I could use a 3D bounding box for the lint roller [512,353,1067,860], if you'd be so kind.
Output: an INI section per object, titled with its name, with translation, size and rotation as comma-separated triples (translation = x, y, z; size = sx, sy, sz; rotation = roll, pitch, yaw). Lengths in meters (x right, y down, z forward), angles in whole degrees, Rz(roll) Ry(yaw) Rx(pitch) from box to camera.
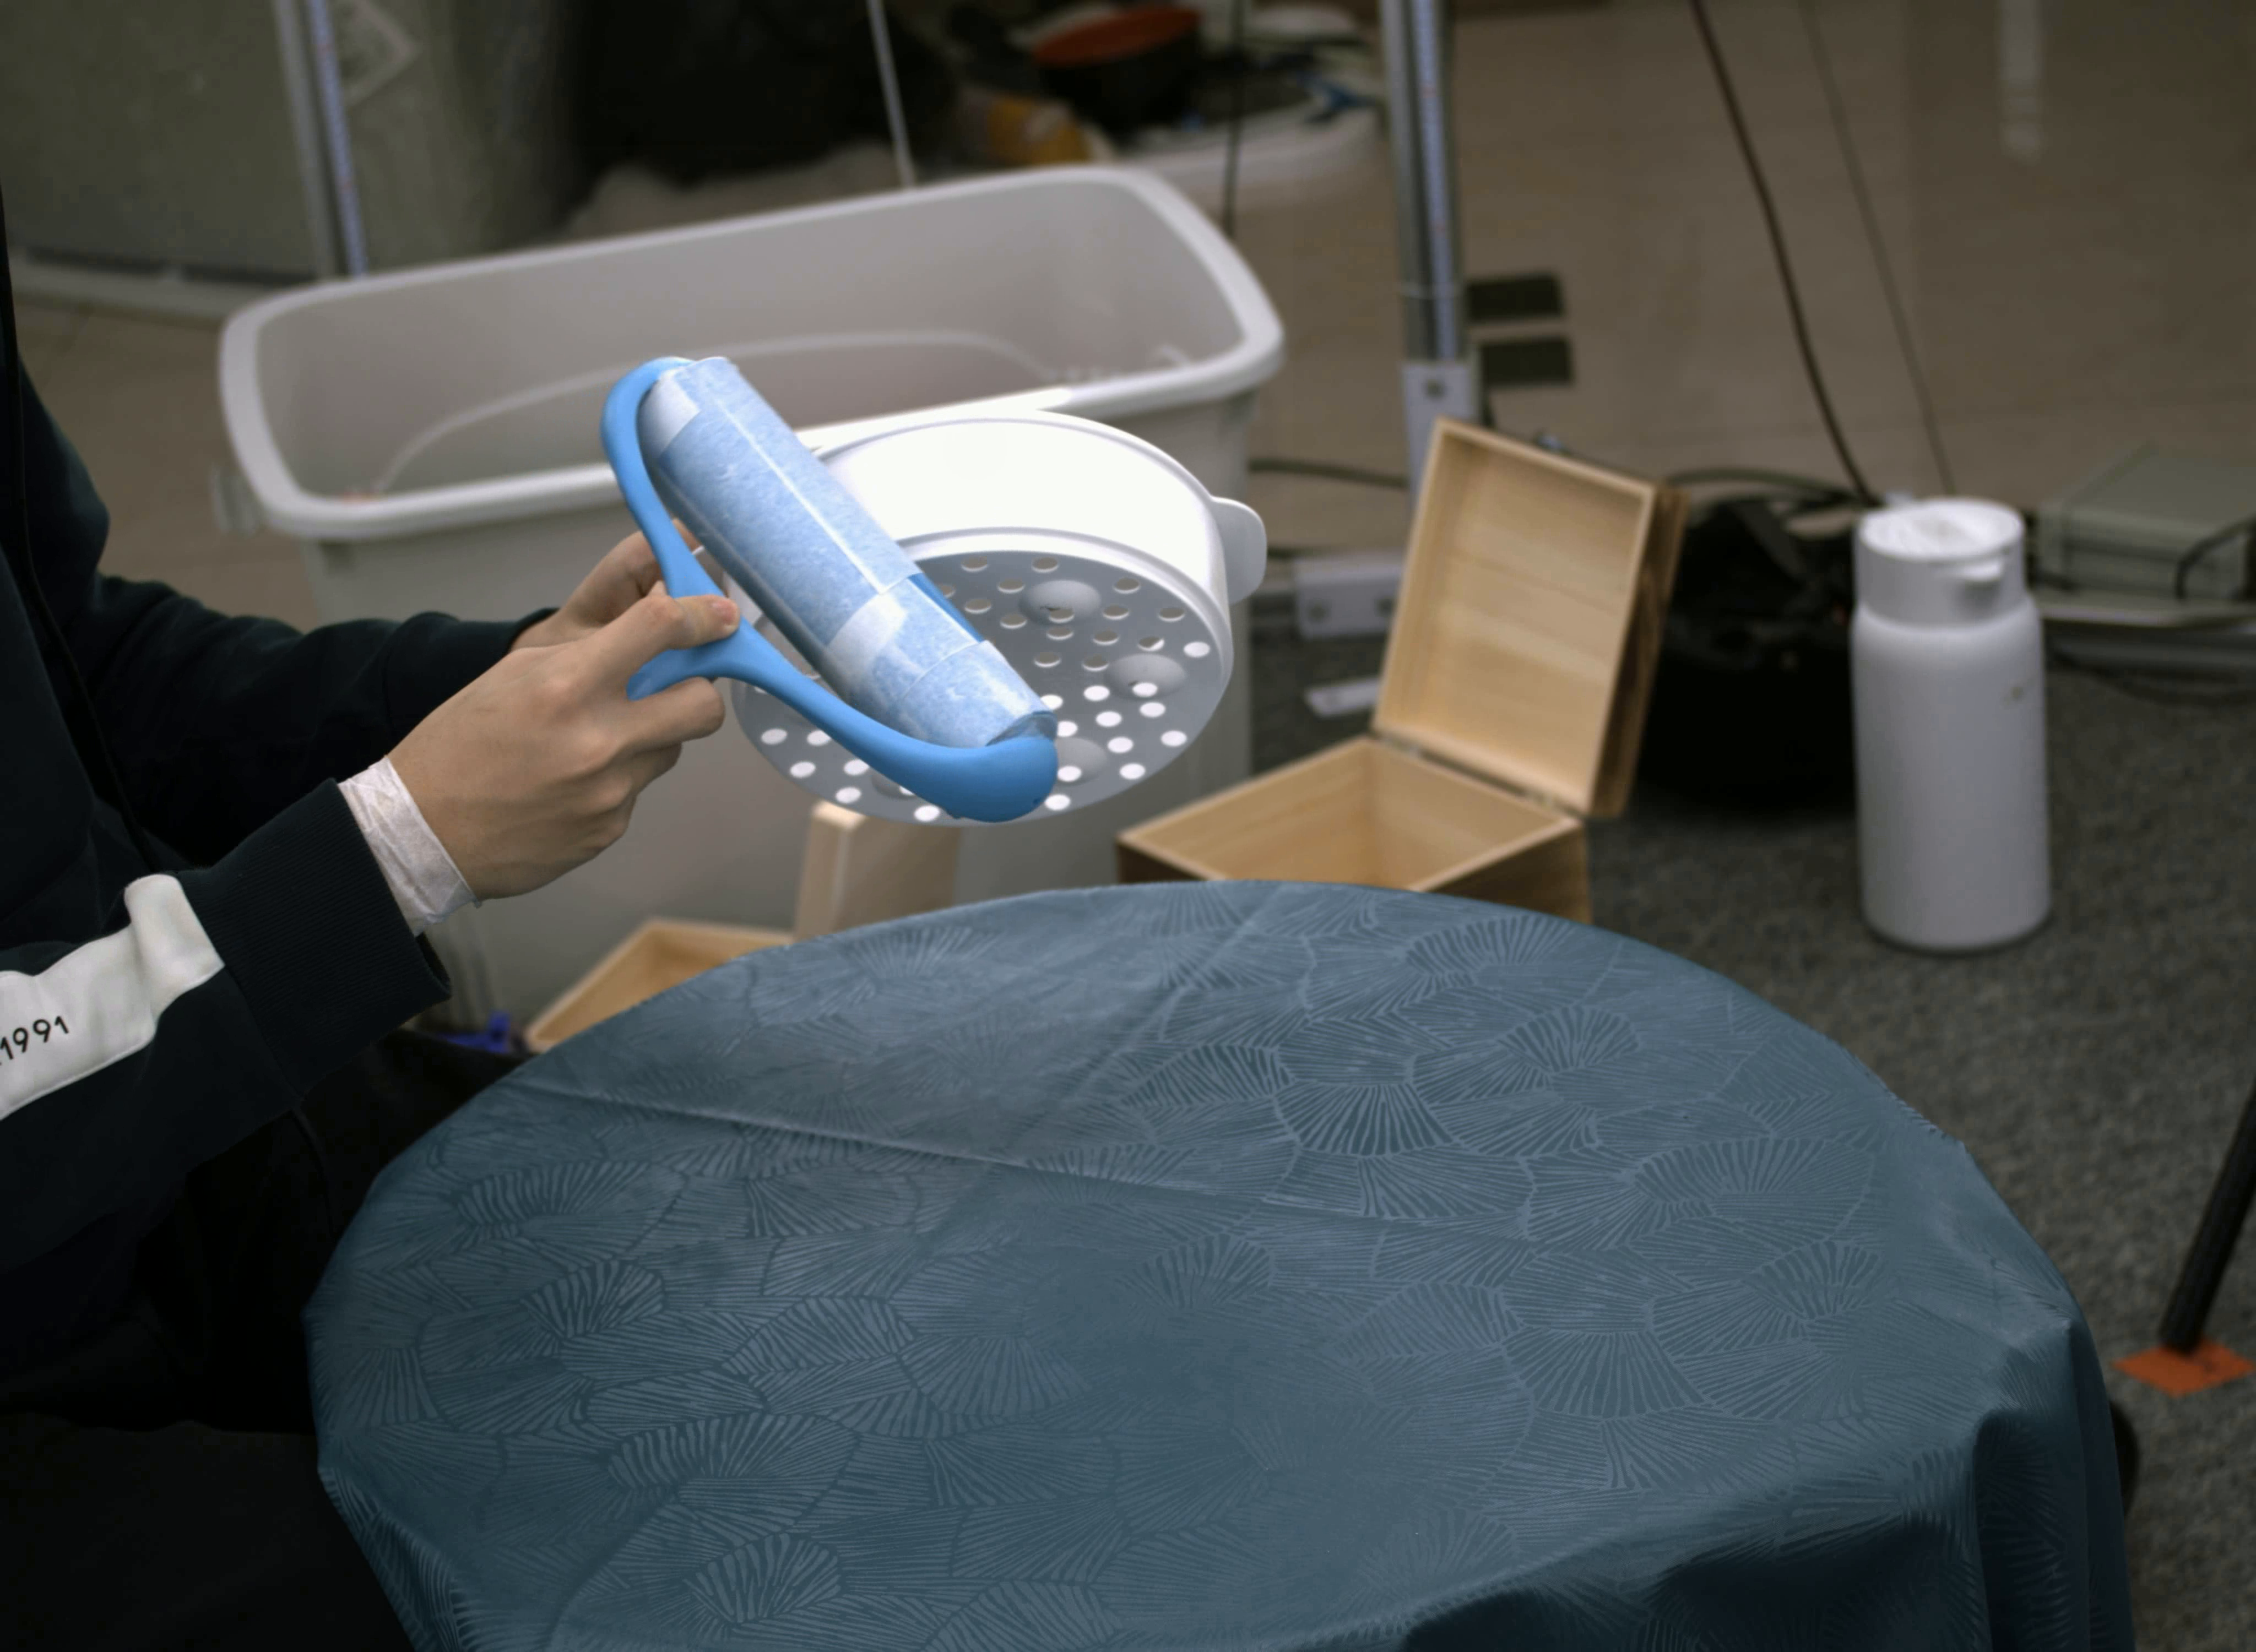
[lint roller]
translation = -0.148, -0.056, 2.040
size = 0.179, 0.069, 0.227
rotation = -41, 75, -20

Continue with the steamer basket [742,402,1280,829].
[steamer basket]
translation = -0.052, -0.076, 2.174
size = 0.230, 0.205, 0.068
rotation = -6, 56, -2
